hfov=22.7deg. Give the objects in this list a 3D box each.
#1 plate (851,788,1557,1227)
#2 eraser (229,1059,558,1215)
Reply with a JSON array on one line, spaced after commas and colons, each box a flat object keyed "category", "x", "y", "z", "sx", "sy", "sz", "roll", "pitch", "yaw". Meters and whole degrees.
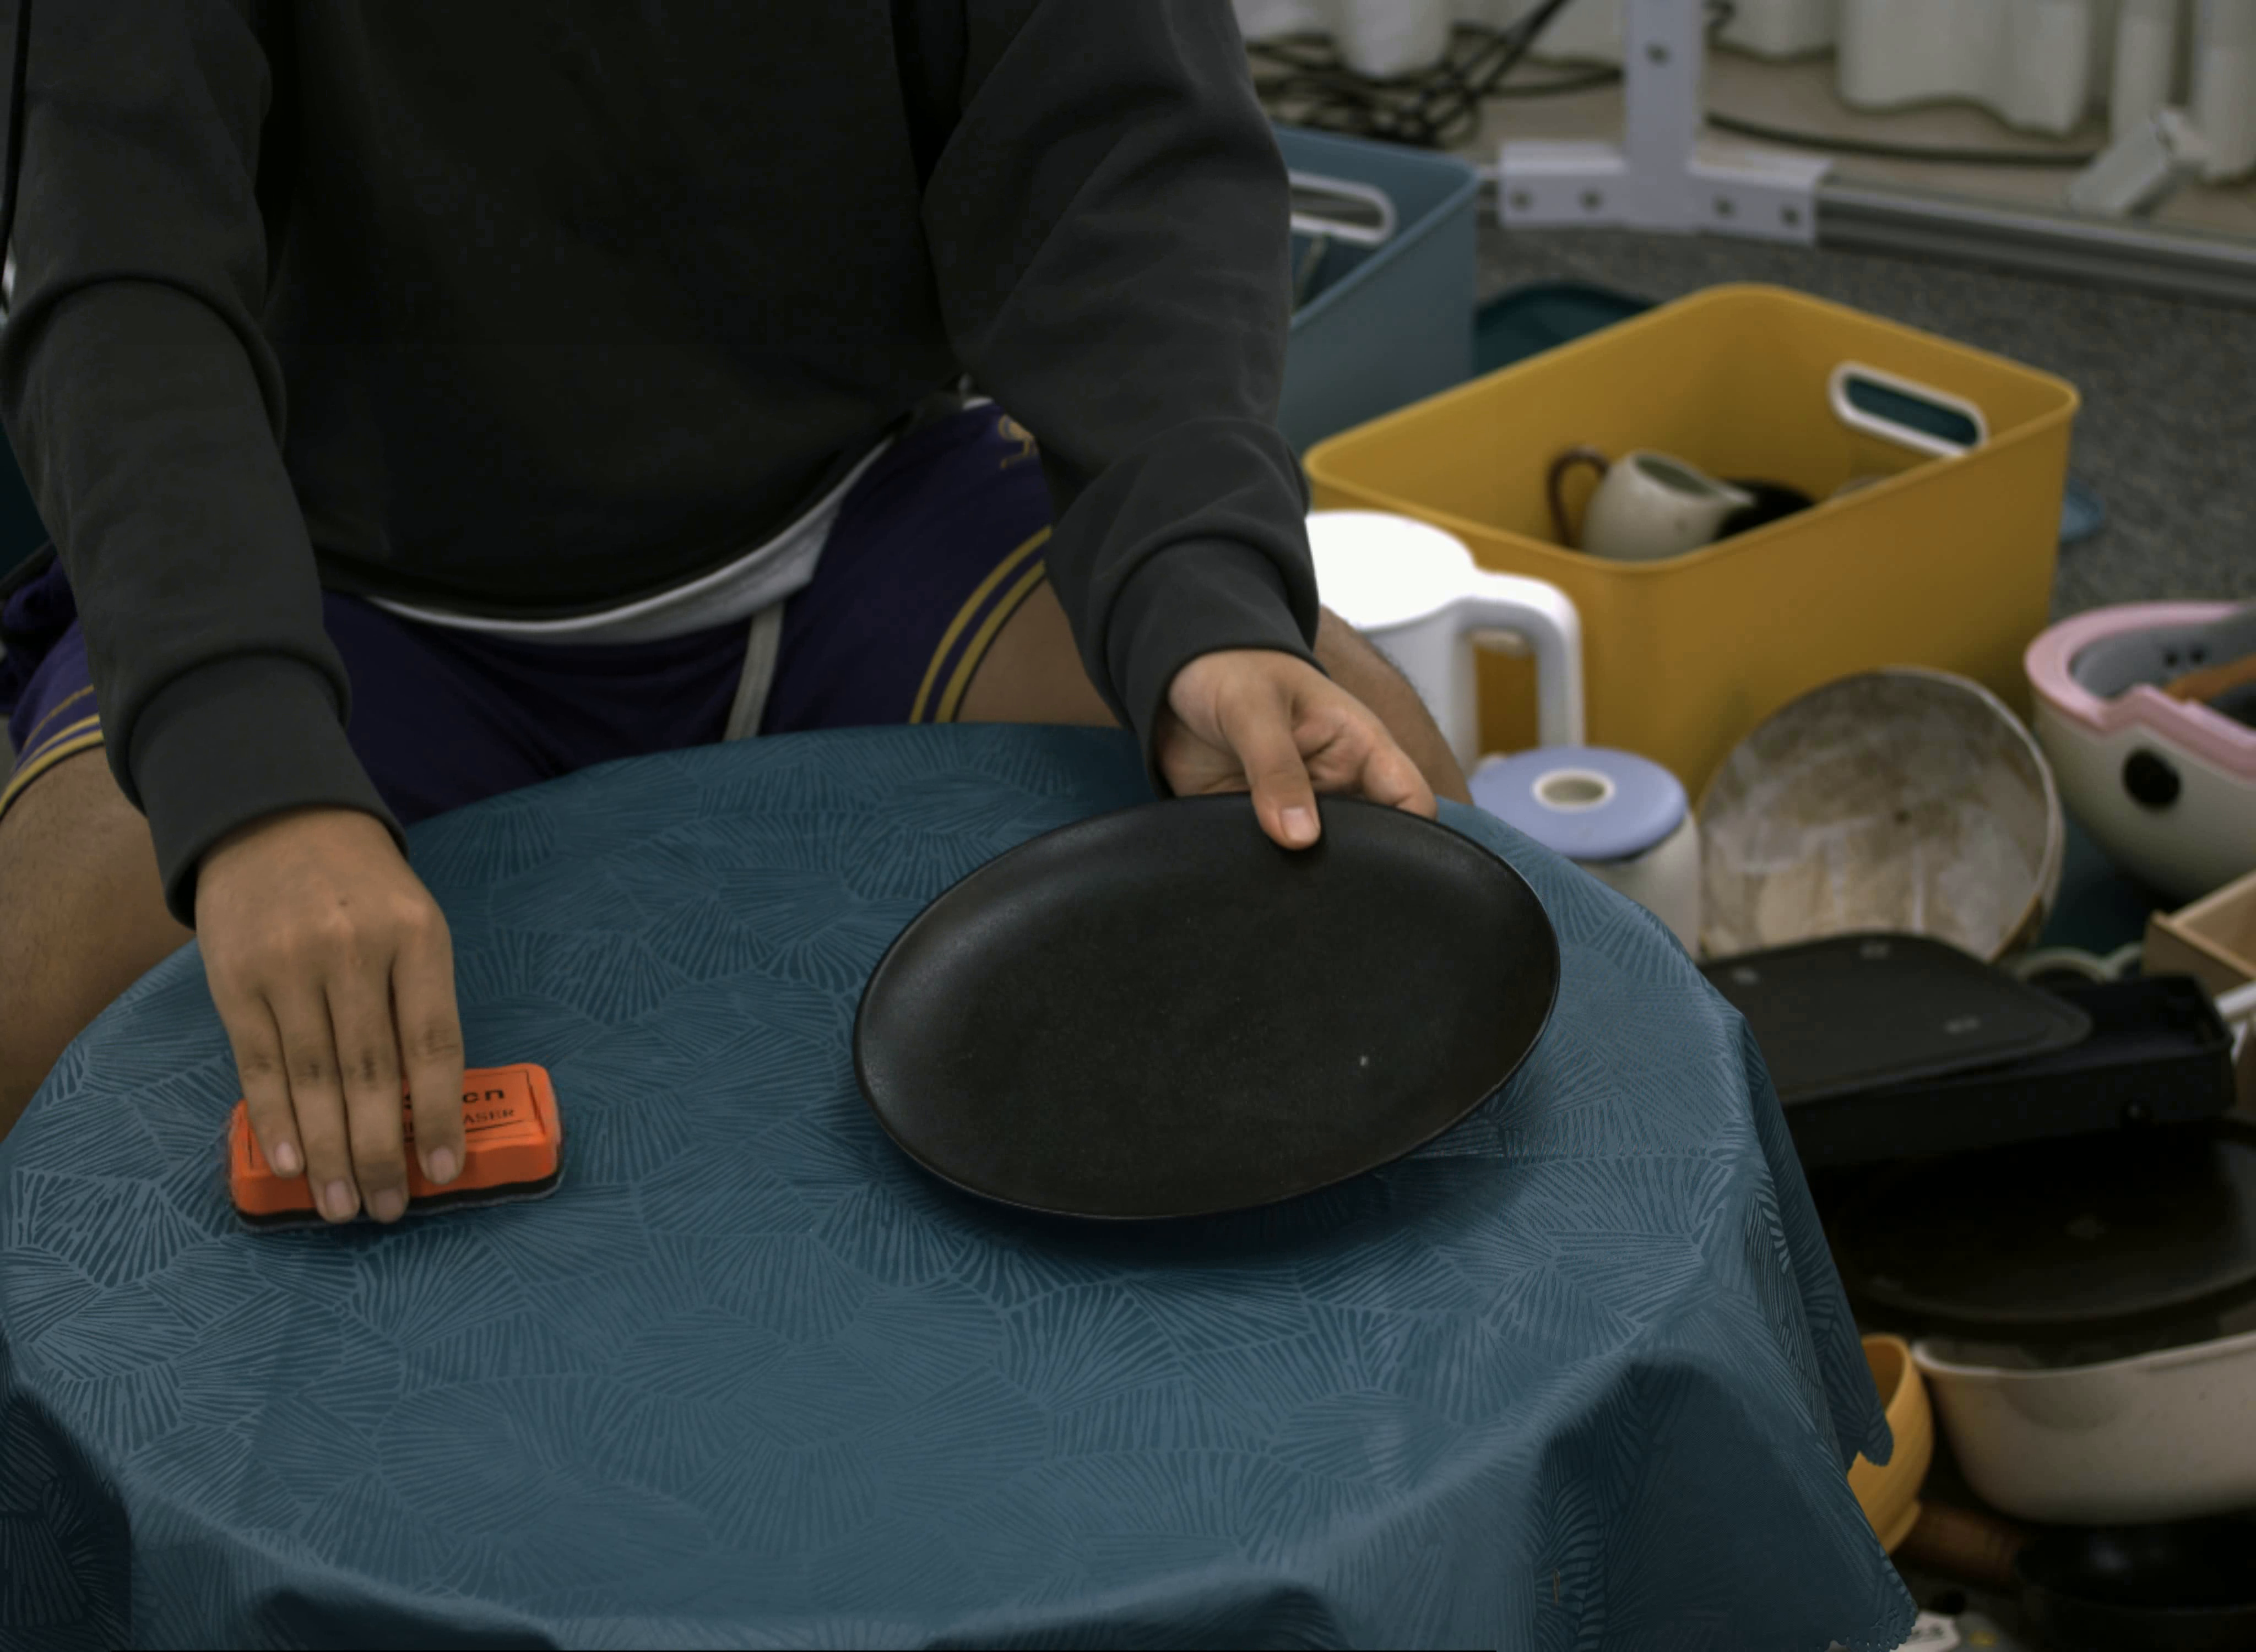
[{"category": "plate", "x": 0.026, "y": 0.065, "z": 1.912, "sx": 0.243, "sy": 0.023, "sz": 0.249, "roll": -7, "pitch": 33, "yaw": 5}, {"category": "eraser", "x": -0.246, "y": 0.105, "z": 1.884, "sx": 0.108, "sy": 0.022, "sz": 0.059, "roll": -4, "pitch": 26, "yaw": -9}]
